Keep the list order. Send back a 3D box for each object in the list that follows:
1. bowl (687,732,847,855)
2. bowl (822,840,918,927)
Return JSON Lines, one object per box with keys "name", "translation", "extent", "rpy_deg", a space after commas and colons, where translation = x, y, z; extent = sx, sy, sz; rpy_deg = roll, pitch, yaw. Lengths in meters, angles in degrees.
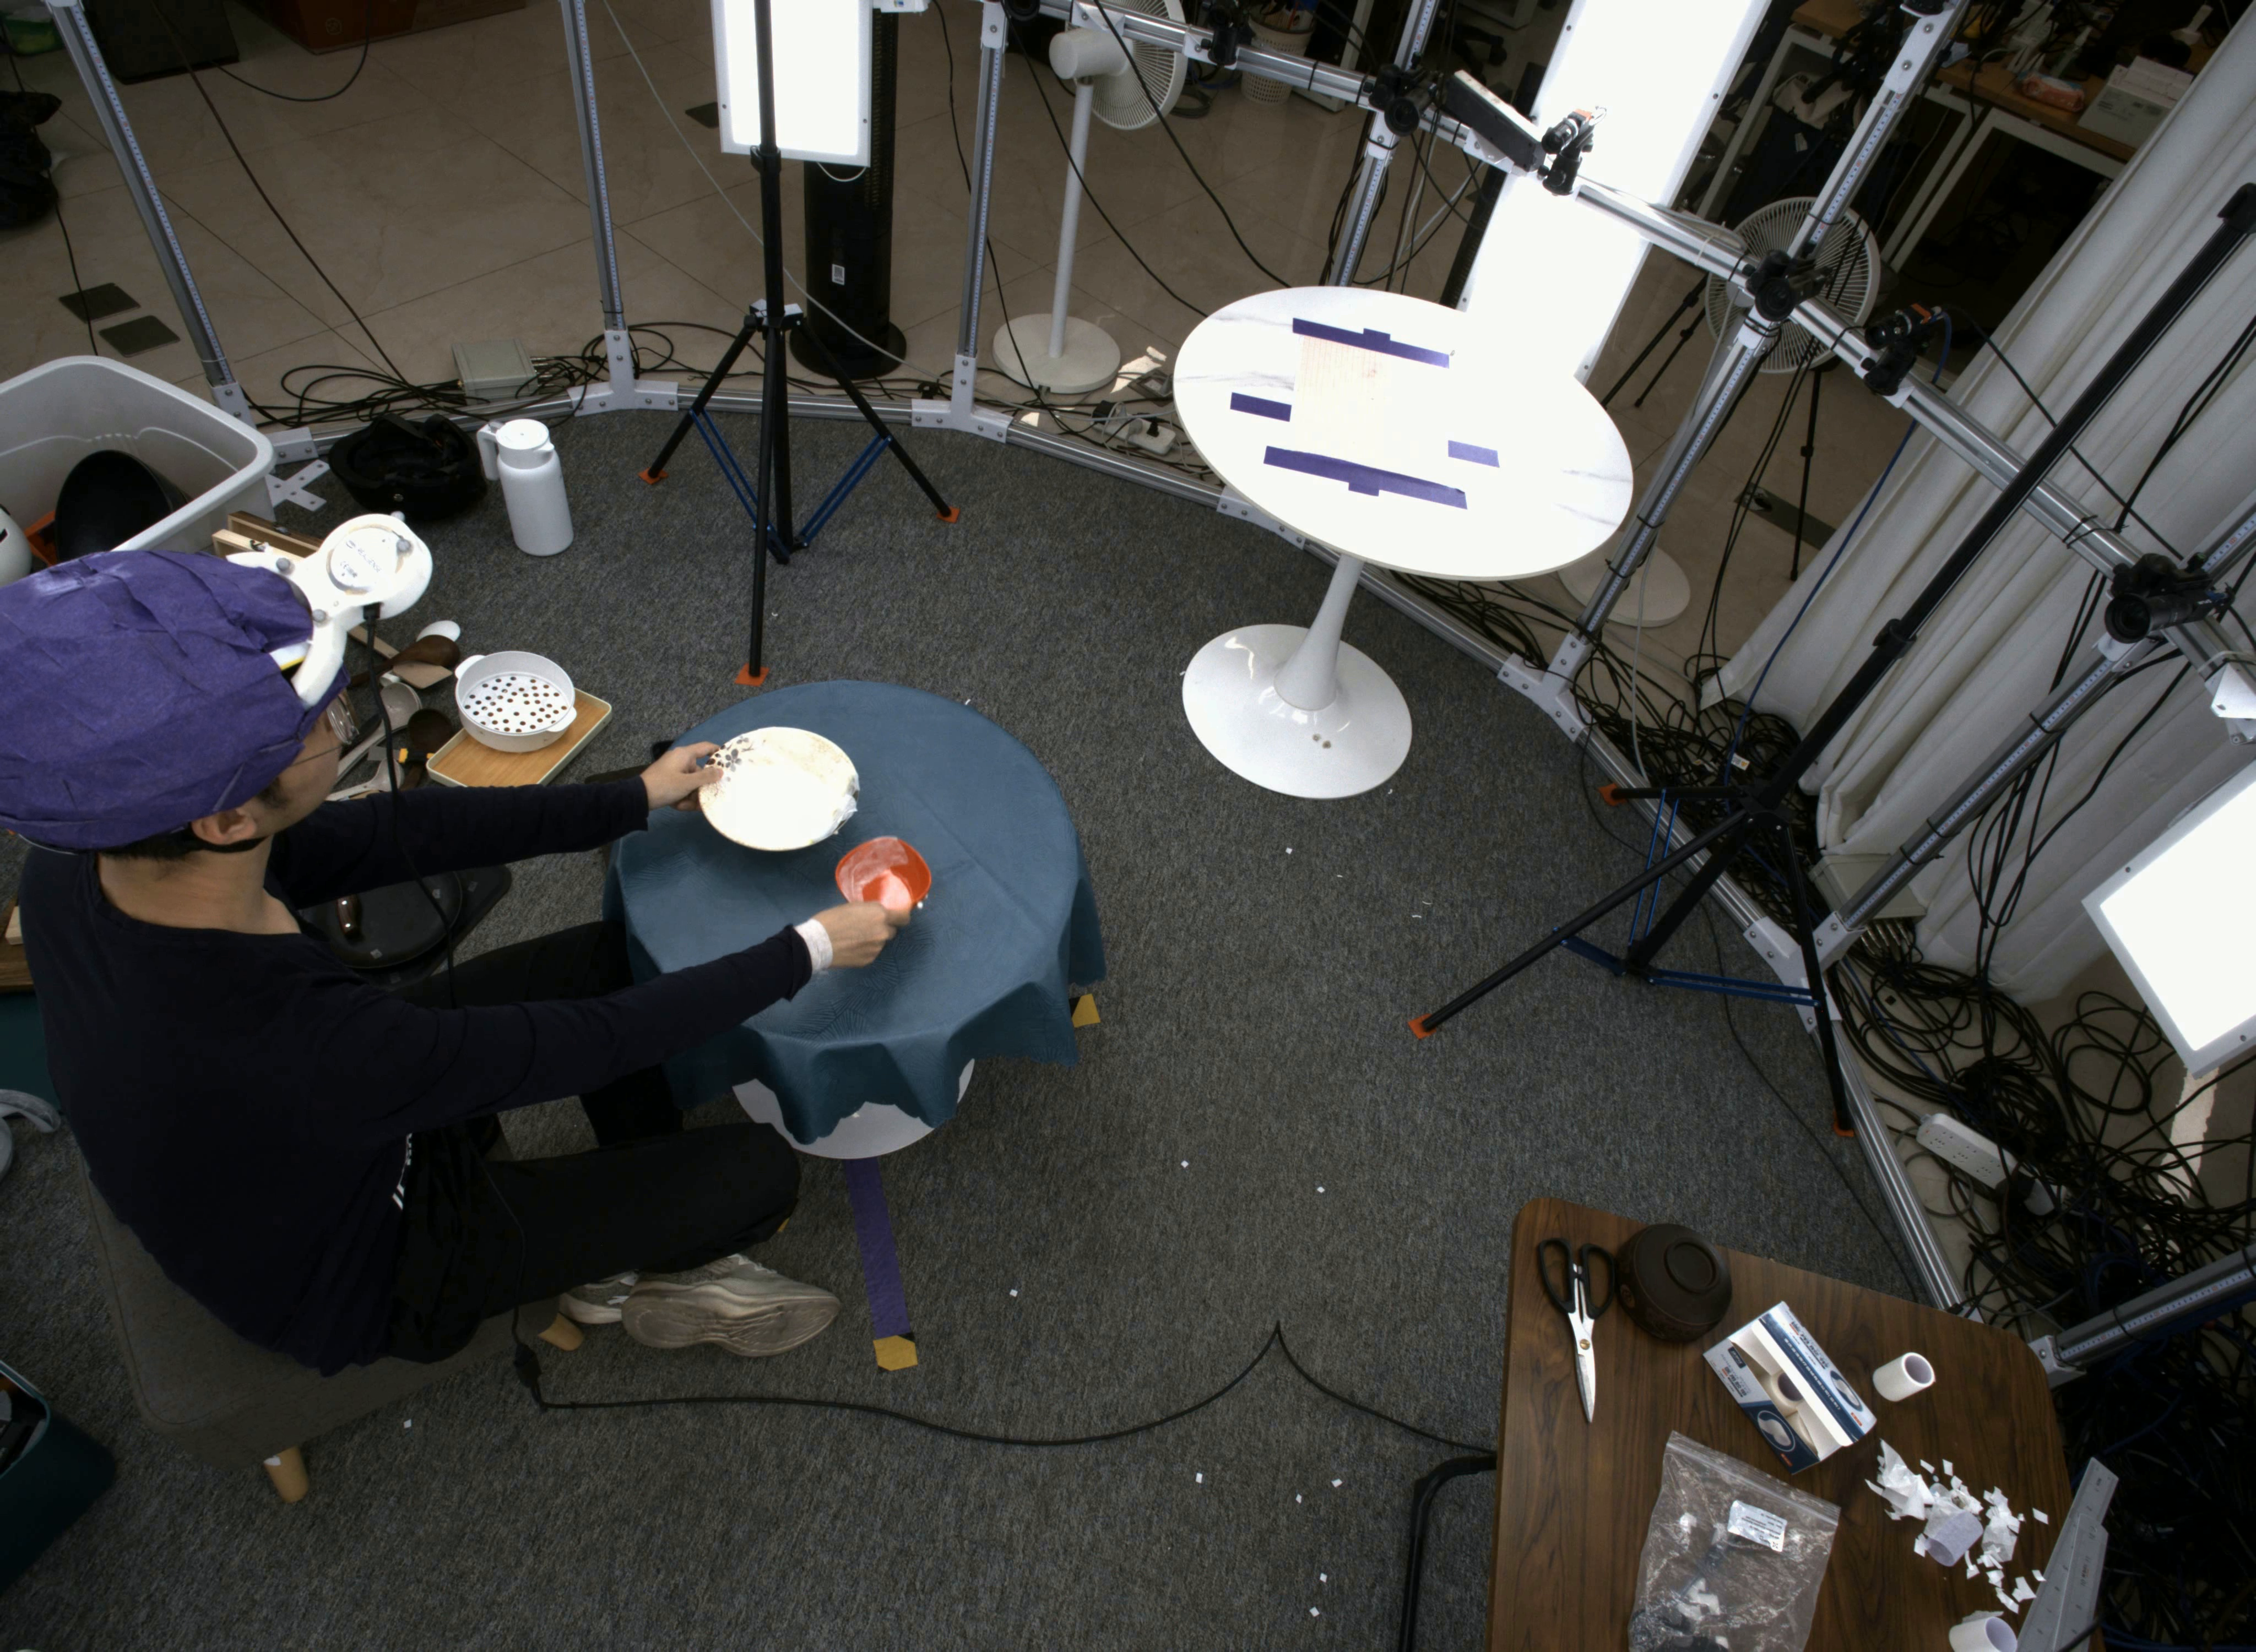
{"name": "bowl", "translation": [-0.468, -0.024, 1.693], "extent": [0.203, 0.080, 0.200], "rpy_deg": [5, 53, -6]}
{"name": "bowl", "translation": [-0.324, 0.080, 1.632], "extent": [0.118, 0.052, 0.117], "rpy_deg": [7, 55, -9]}
